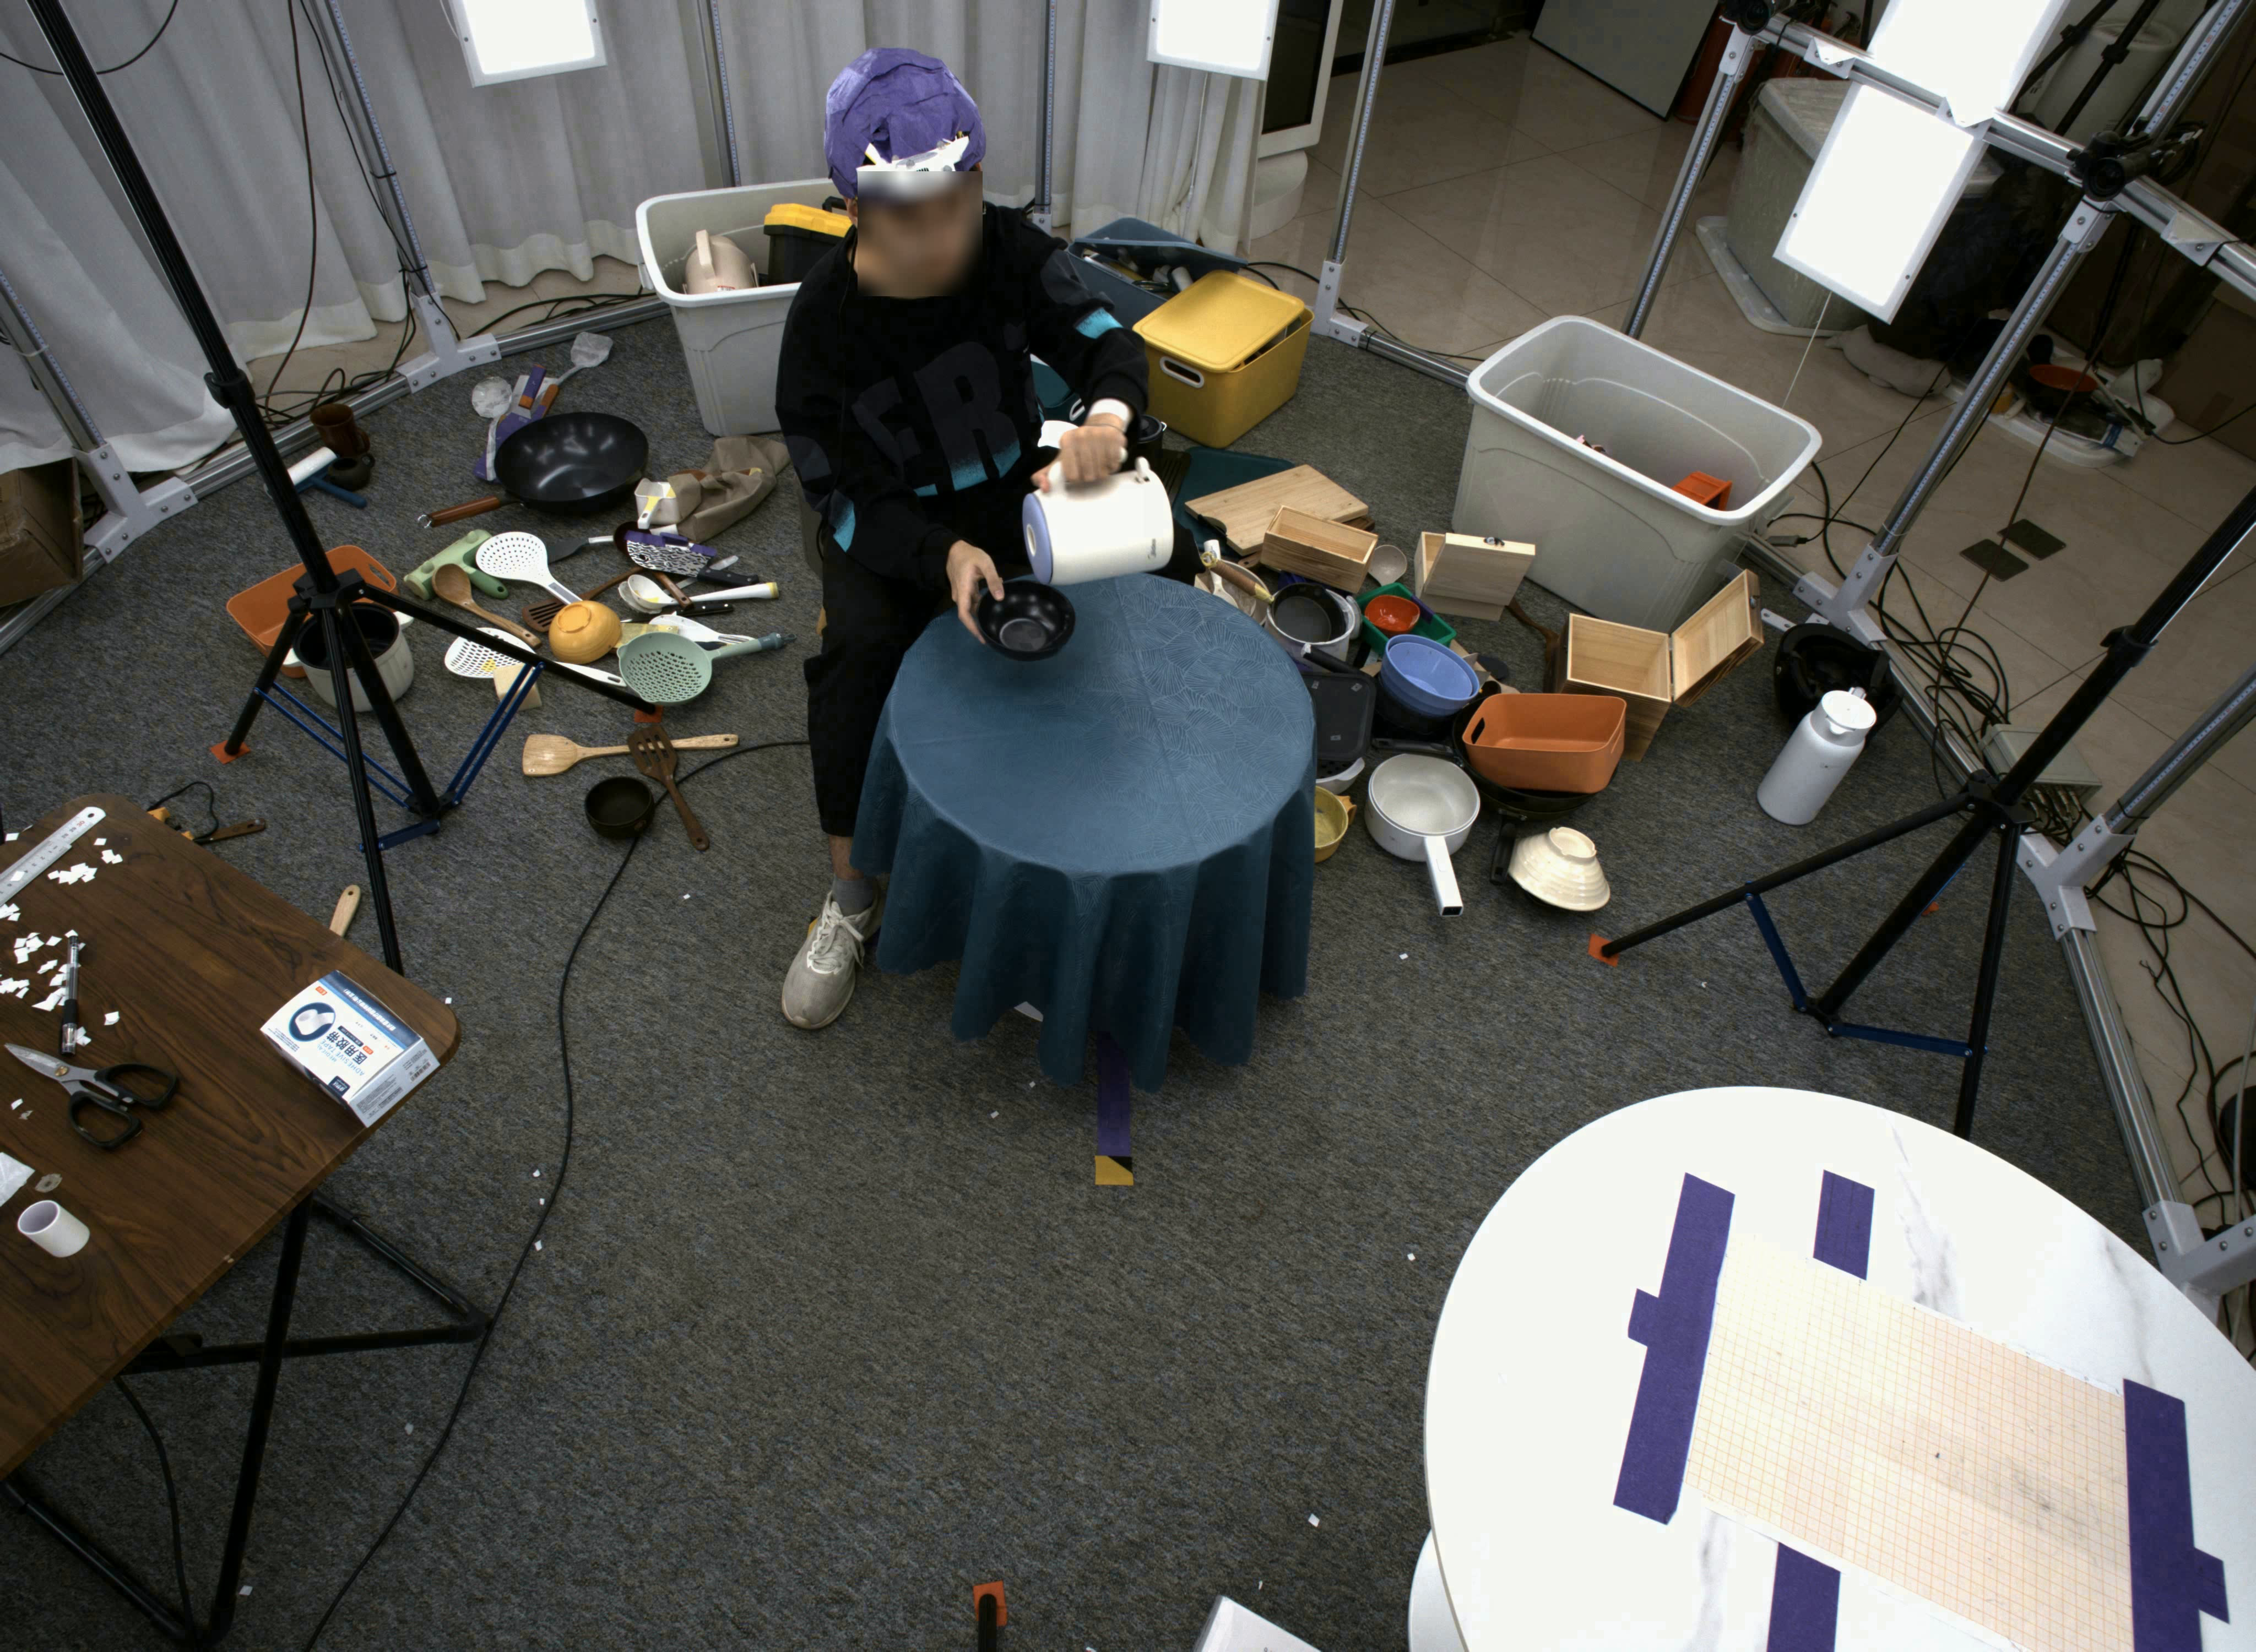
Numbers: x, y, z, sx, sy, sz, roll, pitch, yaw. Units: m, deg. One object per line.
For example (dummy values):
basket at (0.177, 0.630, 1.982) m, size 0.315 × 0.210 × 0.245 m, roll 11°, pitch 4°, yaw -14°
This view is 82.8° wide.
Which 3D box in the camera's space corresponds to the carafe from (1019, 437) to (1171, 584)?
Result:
carafe at (-0.043, -0.410, 1.669) m, size 0.182 × 0.186 × 0.135 m, roll -13°, pitch 46°, yaw -14°

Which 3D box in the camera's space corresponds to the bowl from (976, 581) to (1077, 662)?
bowl at (-0.142, -0.277, 1.795) m, size 0.140 × 0.048 × 0.143 m, roll 4°, pitch 51°, yaw -5°
